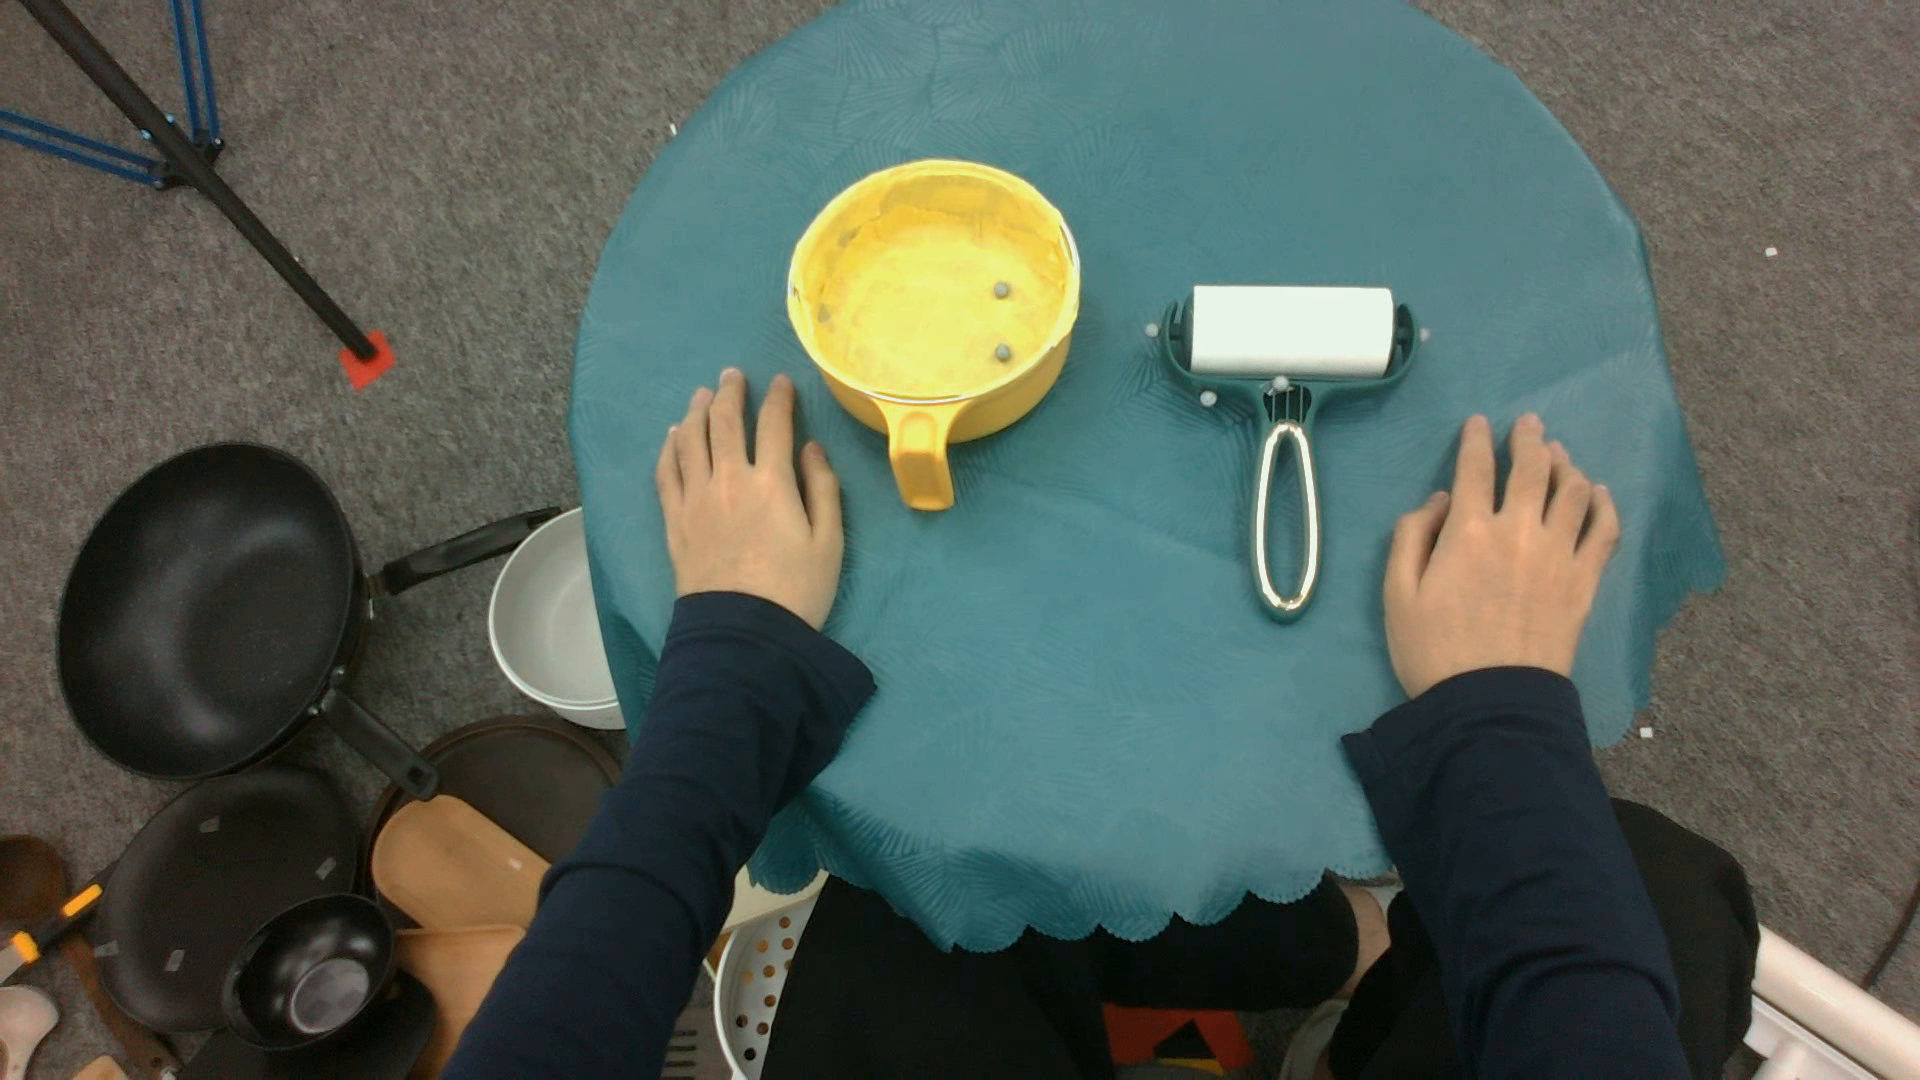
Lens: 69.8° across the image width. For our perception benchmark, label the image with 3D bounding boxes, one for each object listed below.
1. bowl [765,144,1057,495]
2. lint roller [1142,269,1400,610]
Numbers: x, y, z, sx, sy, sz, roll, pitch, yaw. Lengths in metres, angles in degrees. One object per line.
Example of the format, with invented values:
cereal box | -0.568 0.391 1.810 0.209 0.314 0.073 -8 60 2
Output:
bowl | -0.024 -0.118 0.736 0.153 0.074 0.180 -3 65 2
lint roller | 0.159 -0.056 0.708 0.134 0.048 0.180 2 70 5
